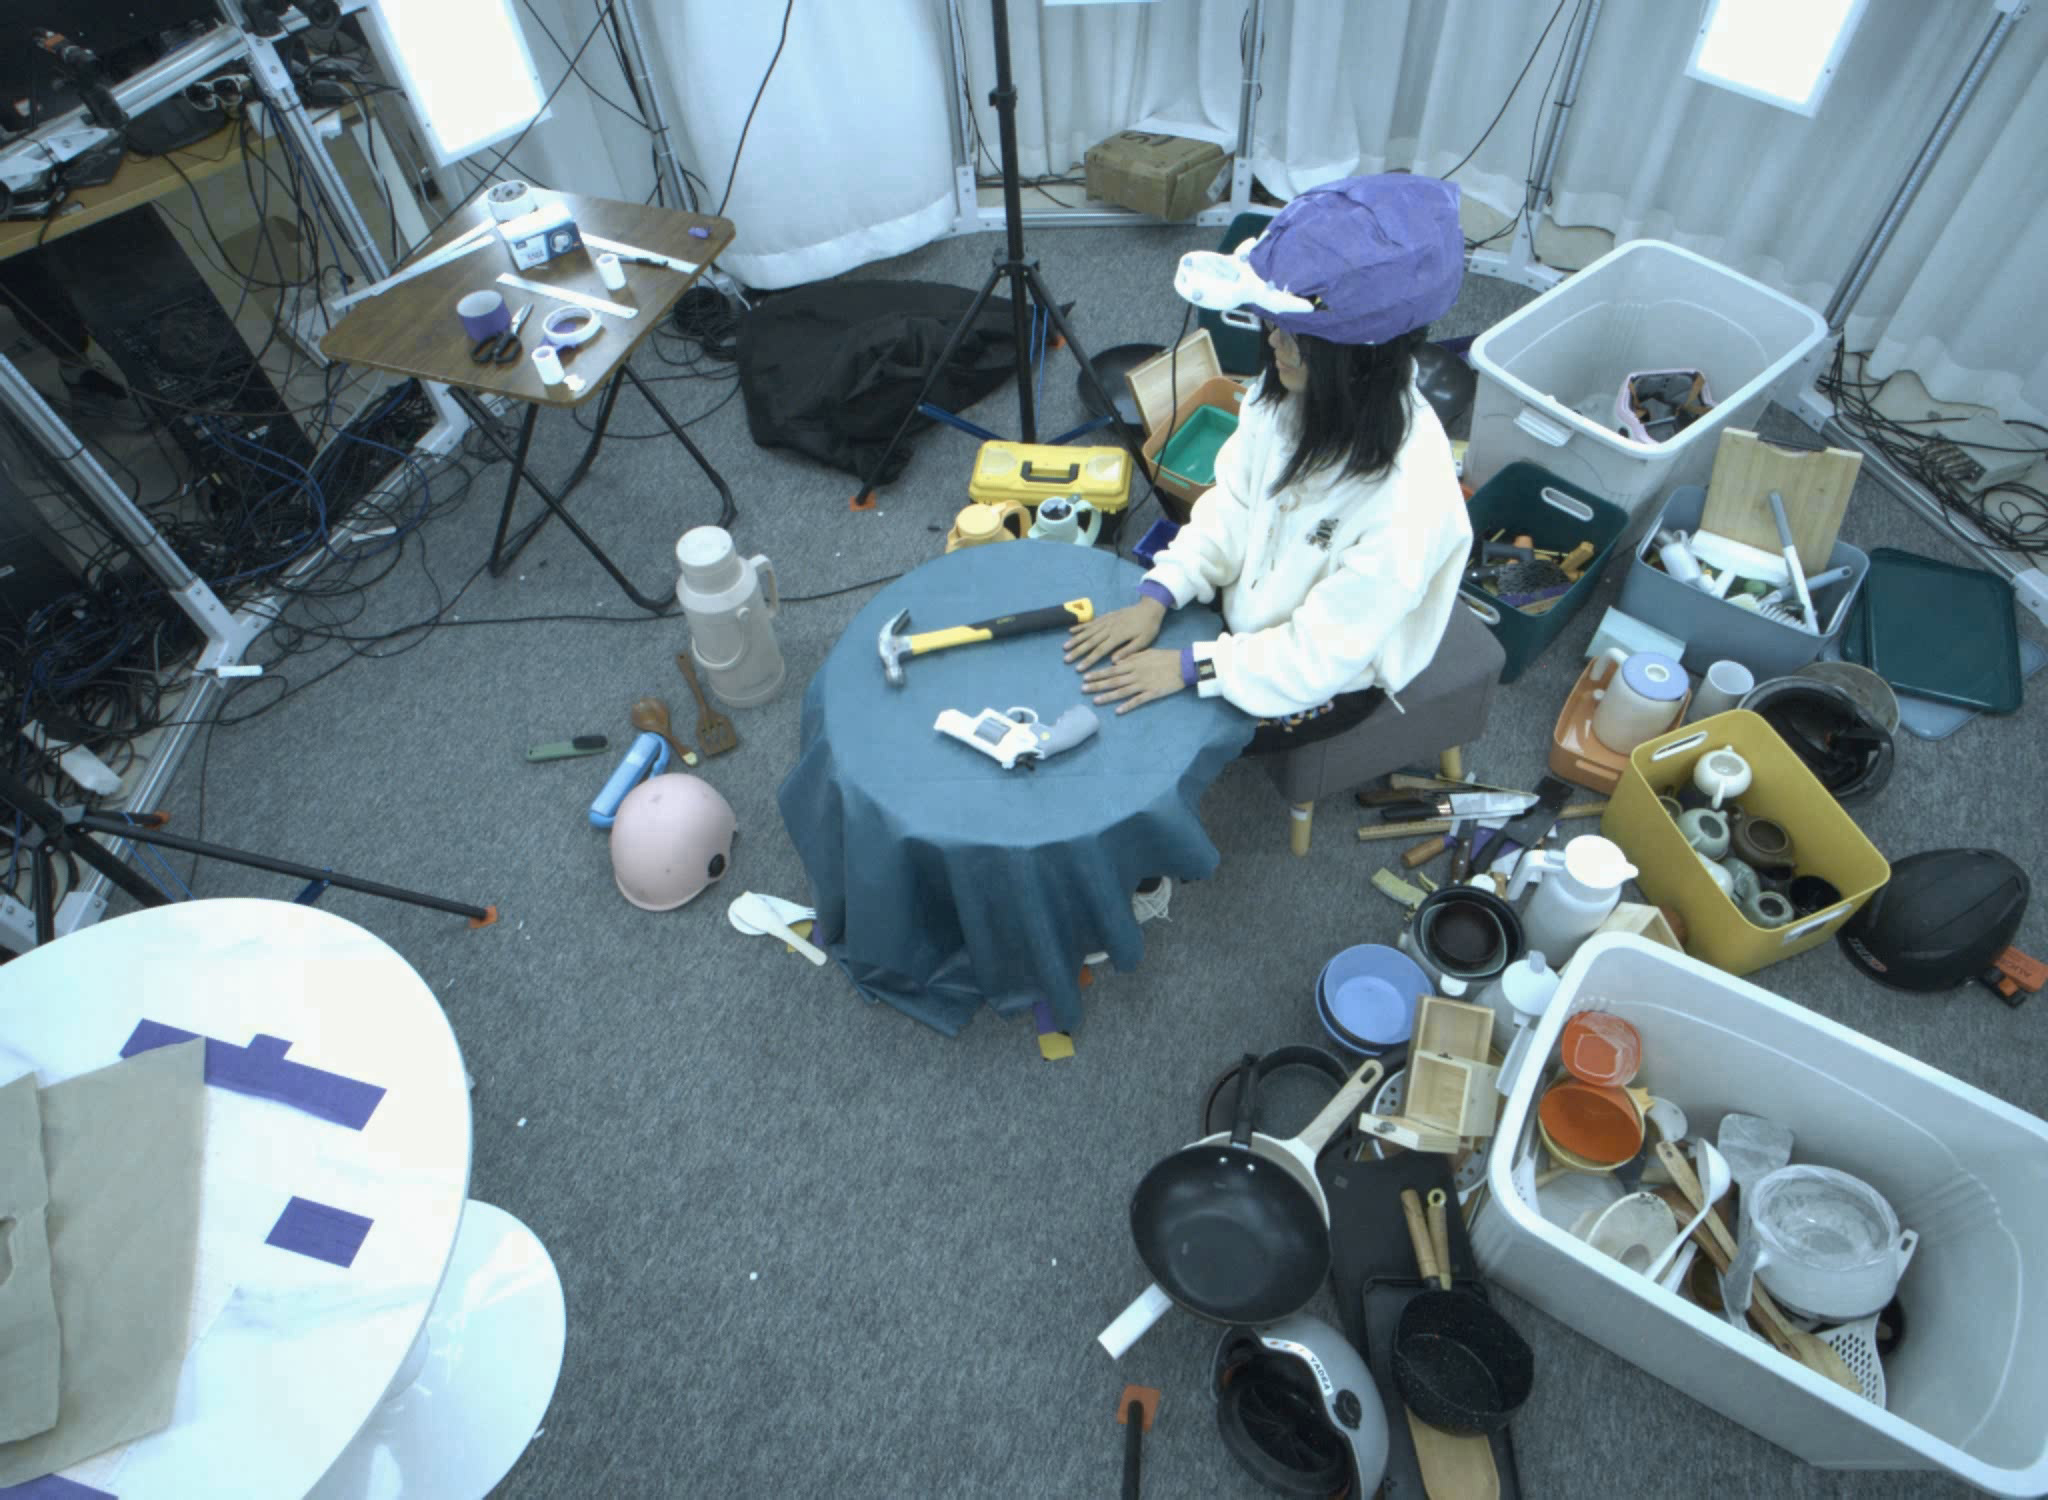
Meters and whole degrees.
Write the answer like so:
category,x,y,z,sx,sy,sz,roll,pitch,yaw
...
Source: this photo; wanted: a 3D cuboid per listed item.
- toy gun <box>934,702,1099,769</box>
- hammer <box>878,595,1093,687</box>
category,x,y,z,sx,sy,sz,roll,pitch,yaw
toy gun,-0.011,-0.038,1.791,0.206,0.039,0.142,25,61,19
hammer,-0.059,-0.189,1.901,0.340,0.032,0.129,-13,53,-6
